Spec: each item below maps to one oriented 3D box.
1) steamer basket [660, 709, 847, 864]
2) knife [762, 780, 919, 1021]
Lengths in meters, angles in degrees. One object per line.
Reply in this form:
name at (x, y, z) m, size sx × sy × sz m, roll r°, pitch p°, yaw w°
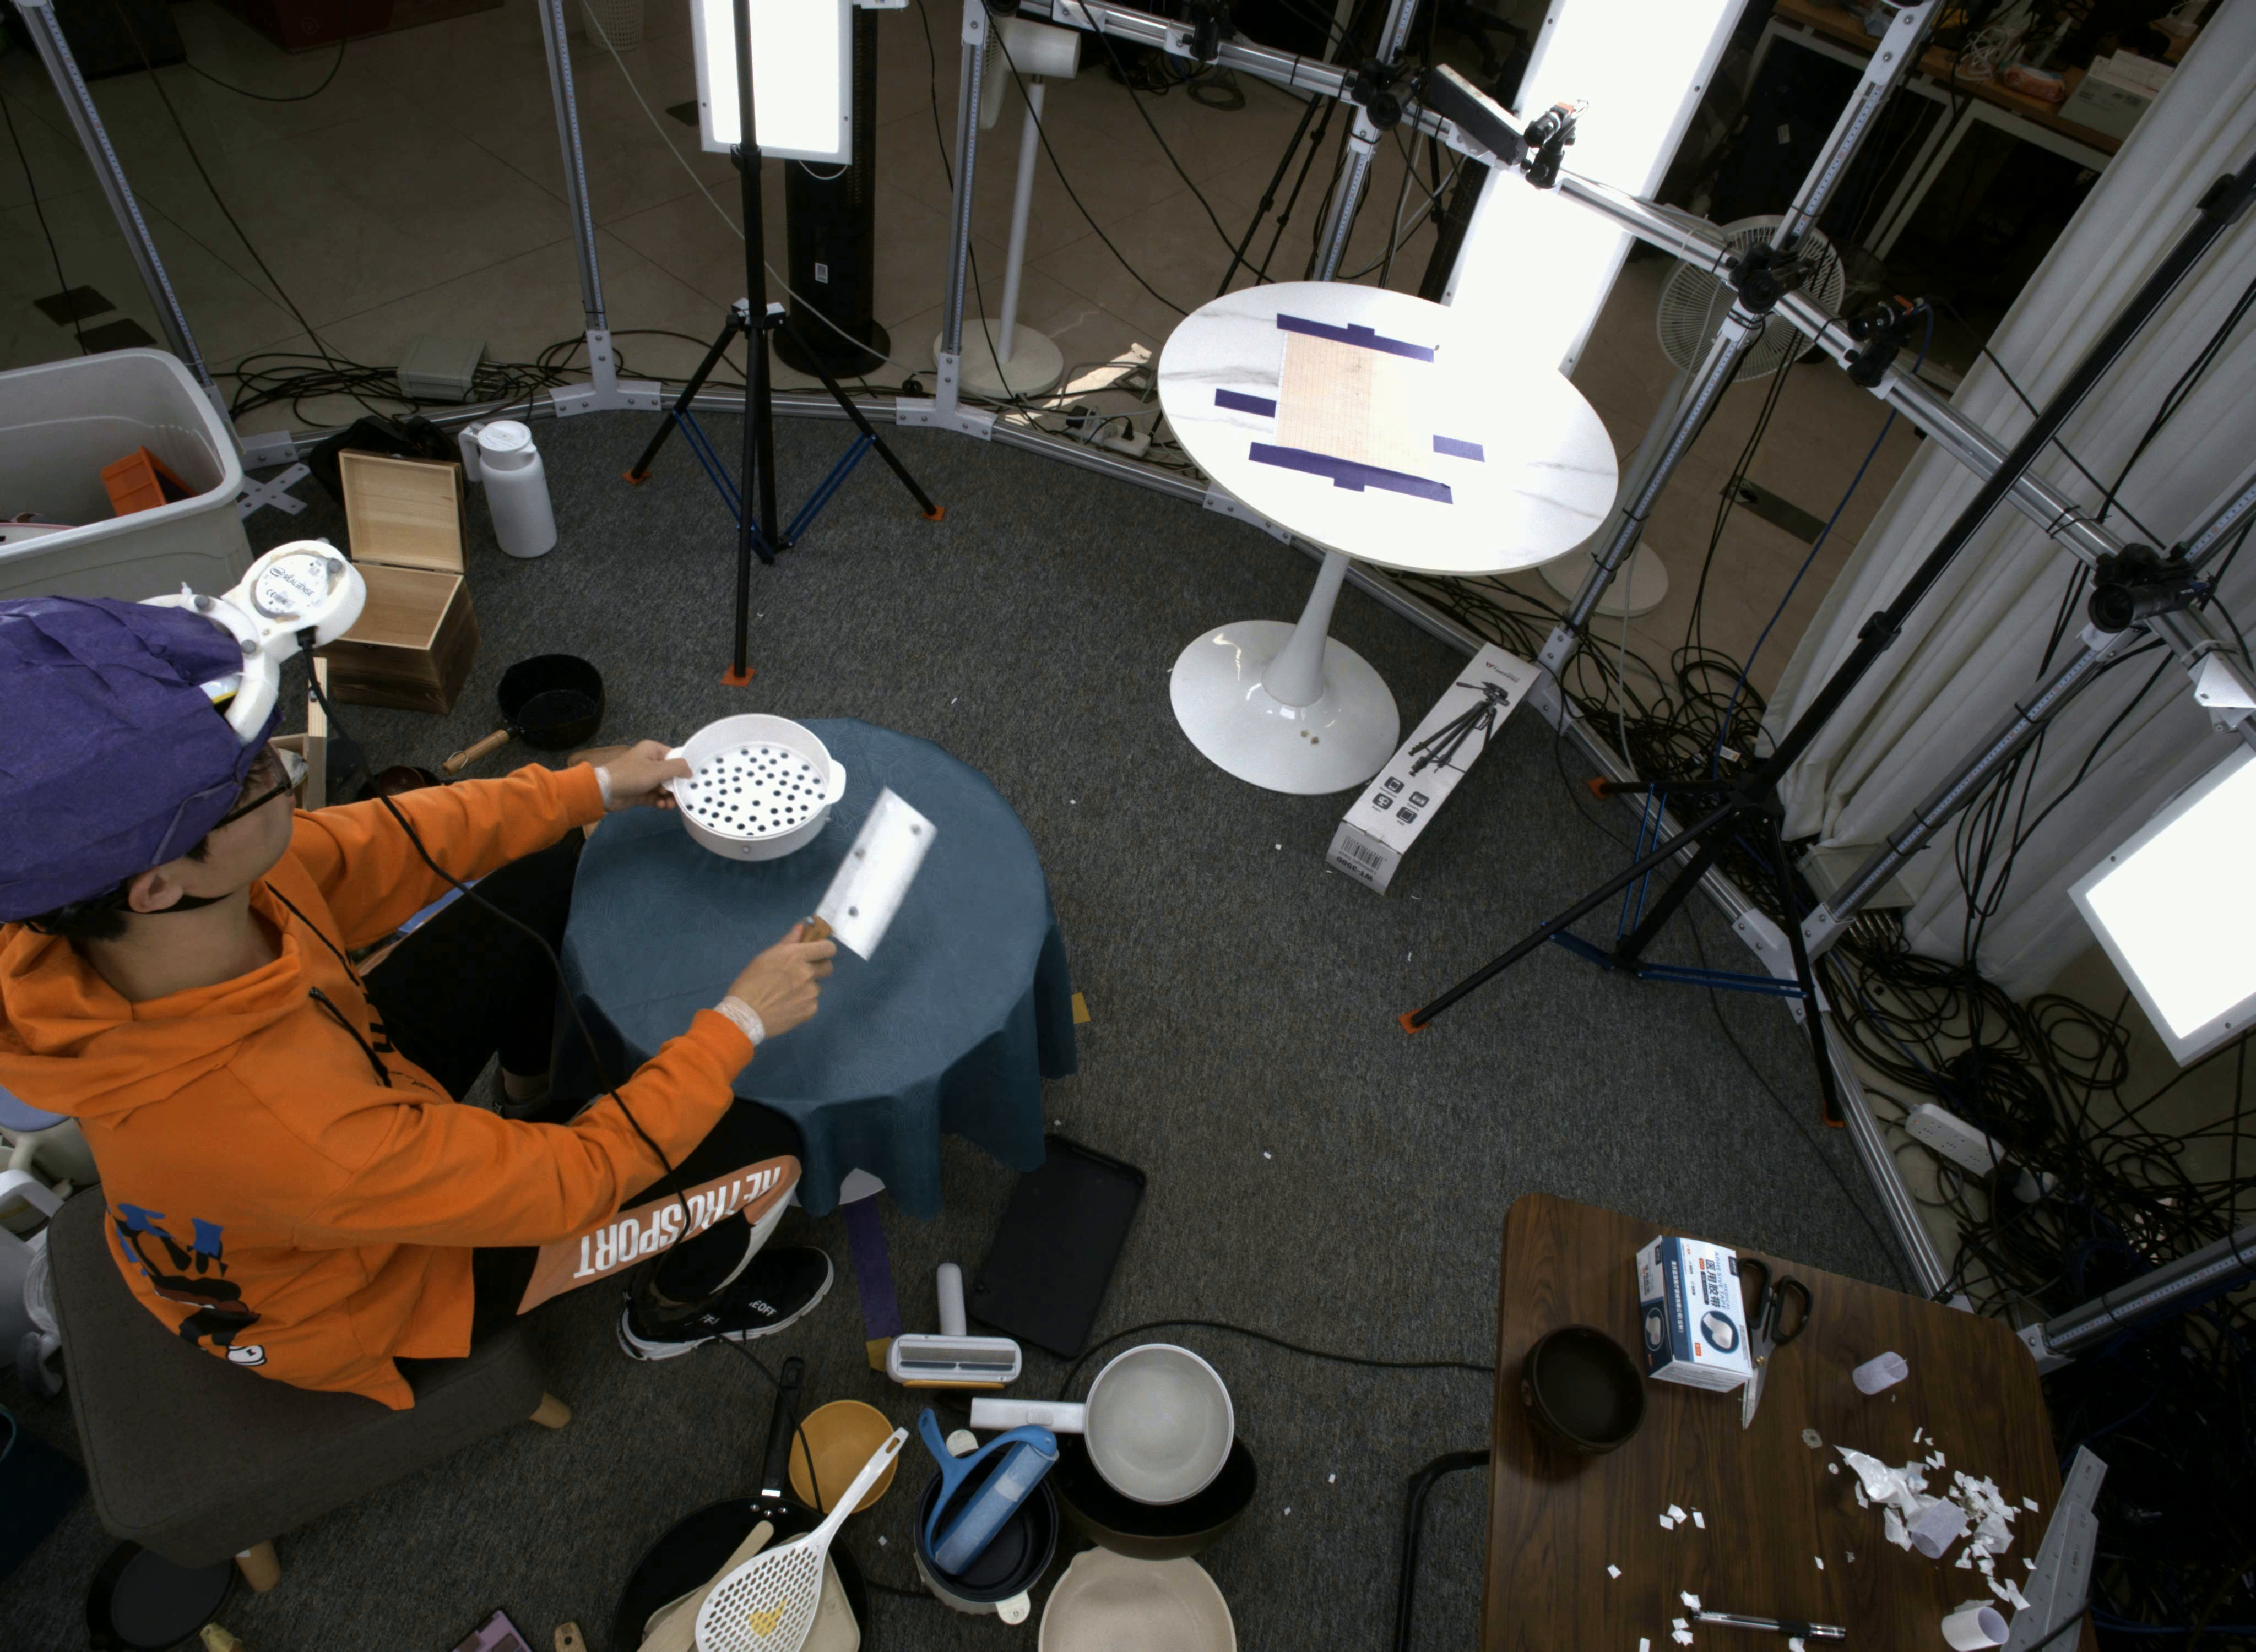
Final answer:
steamer basket at (-0.474, -0.051, 1.641) m, size 0.231 × 0.070 × 0.198 m, roll 6°, pitch 56°, yaw -13°
knife at (-0.325, 0.094, 1.506) m, size 0.020 × 0.096 × 0.305 m, roll 3°, pitch 60°, yaw 42°
